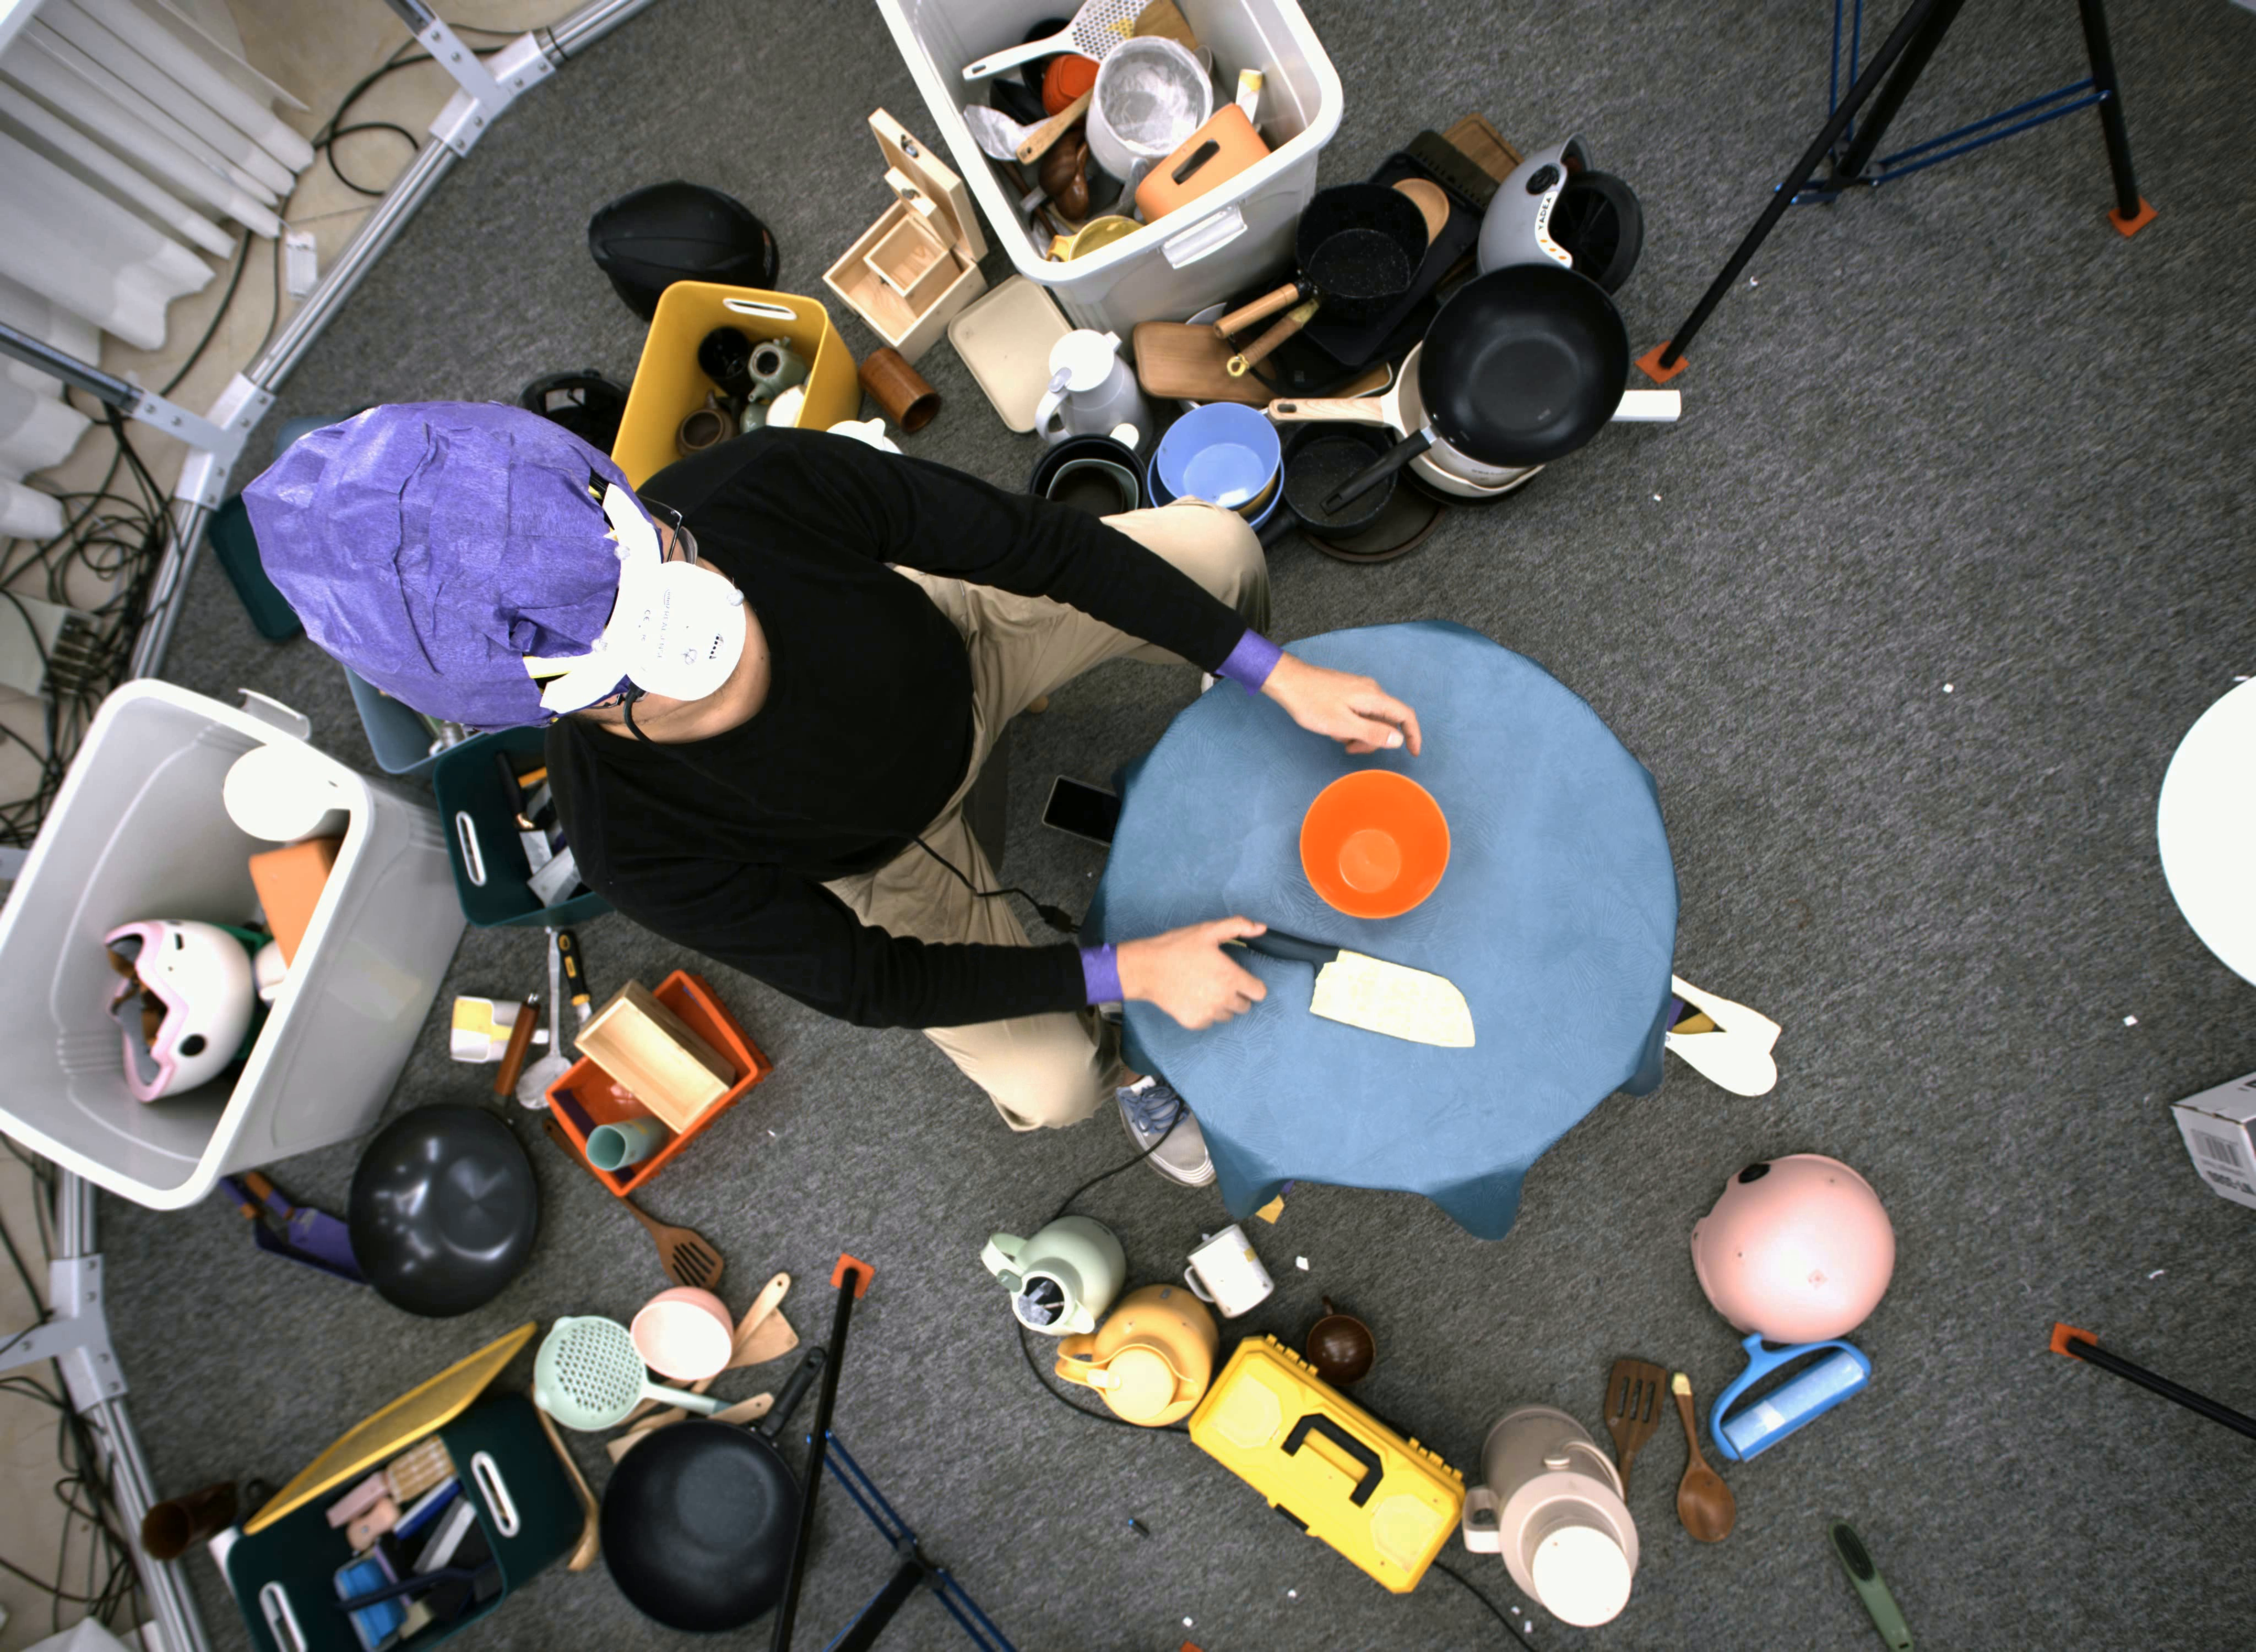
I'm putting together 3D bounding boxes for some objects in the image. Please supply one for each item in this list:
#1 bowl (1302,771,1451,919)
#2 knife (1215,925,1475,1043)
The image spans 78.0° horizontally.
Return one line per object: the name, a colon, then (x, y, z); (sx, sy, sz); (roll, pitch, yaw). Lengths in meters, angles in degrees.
bowl: (0.254, 0.022, 1.415); (0.148, 0.104, 0.147); (-1, 87, 10)
knife: (0.225, 0.163, 1.458); (0.289, 0.027, 0.081); (18, 89, 10)
